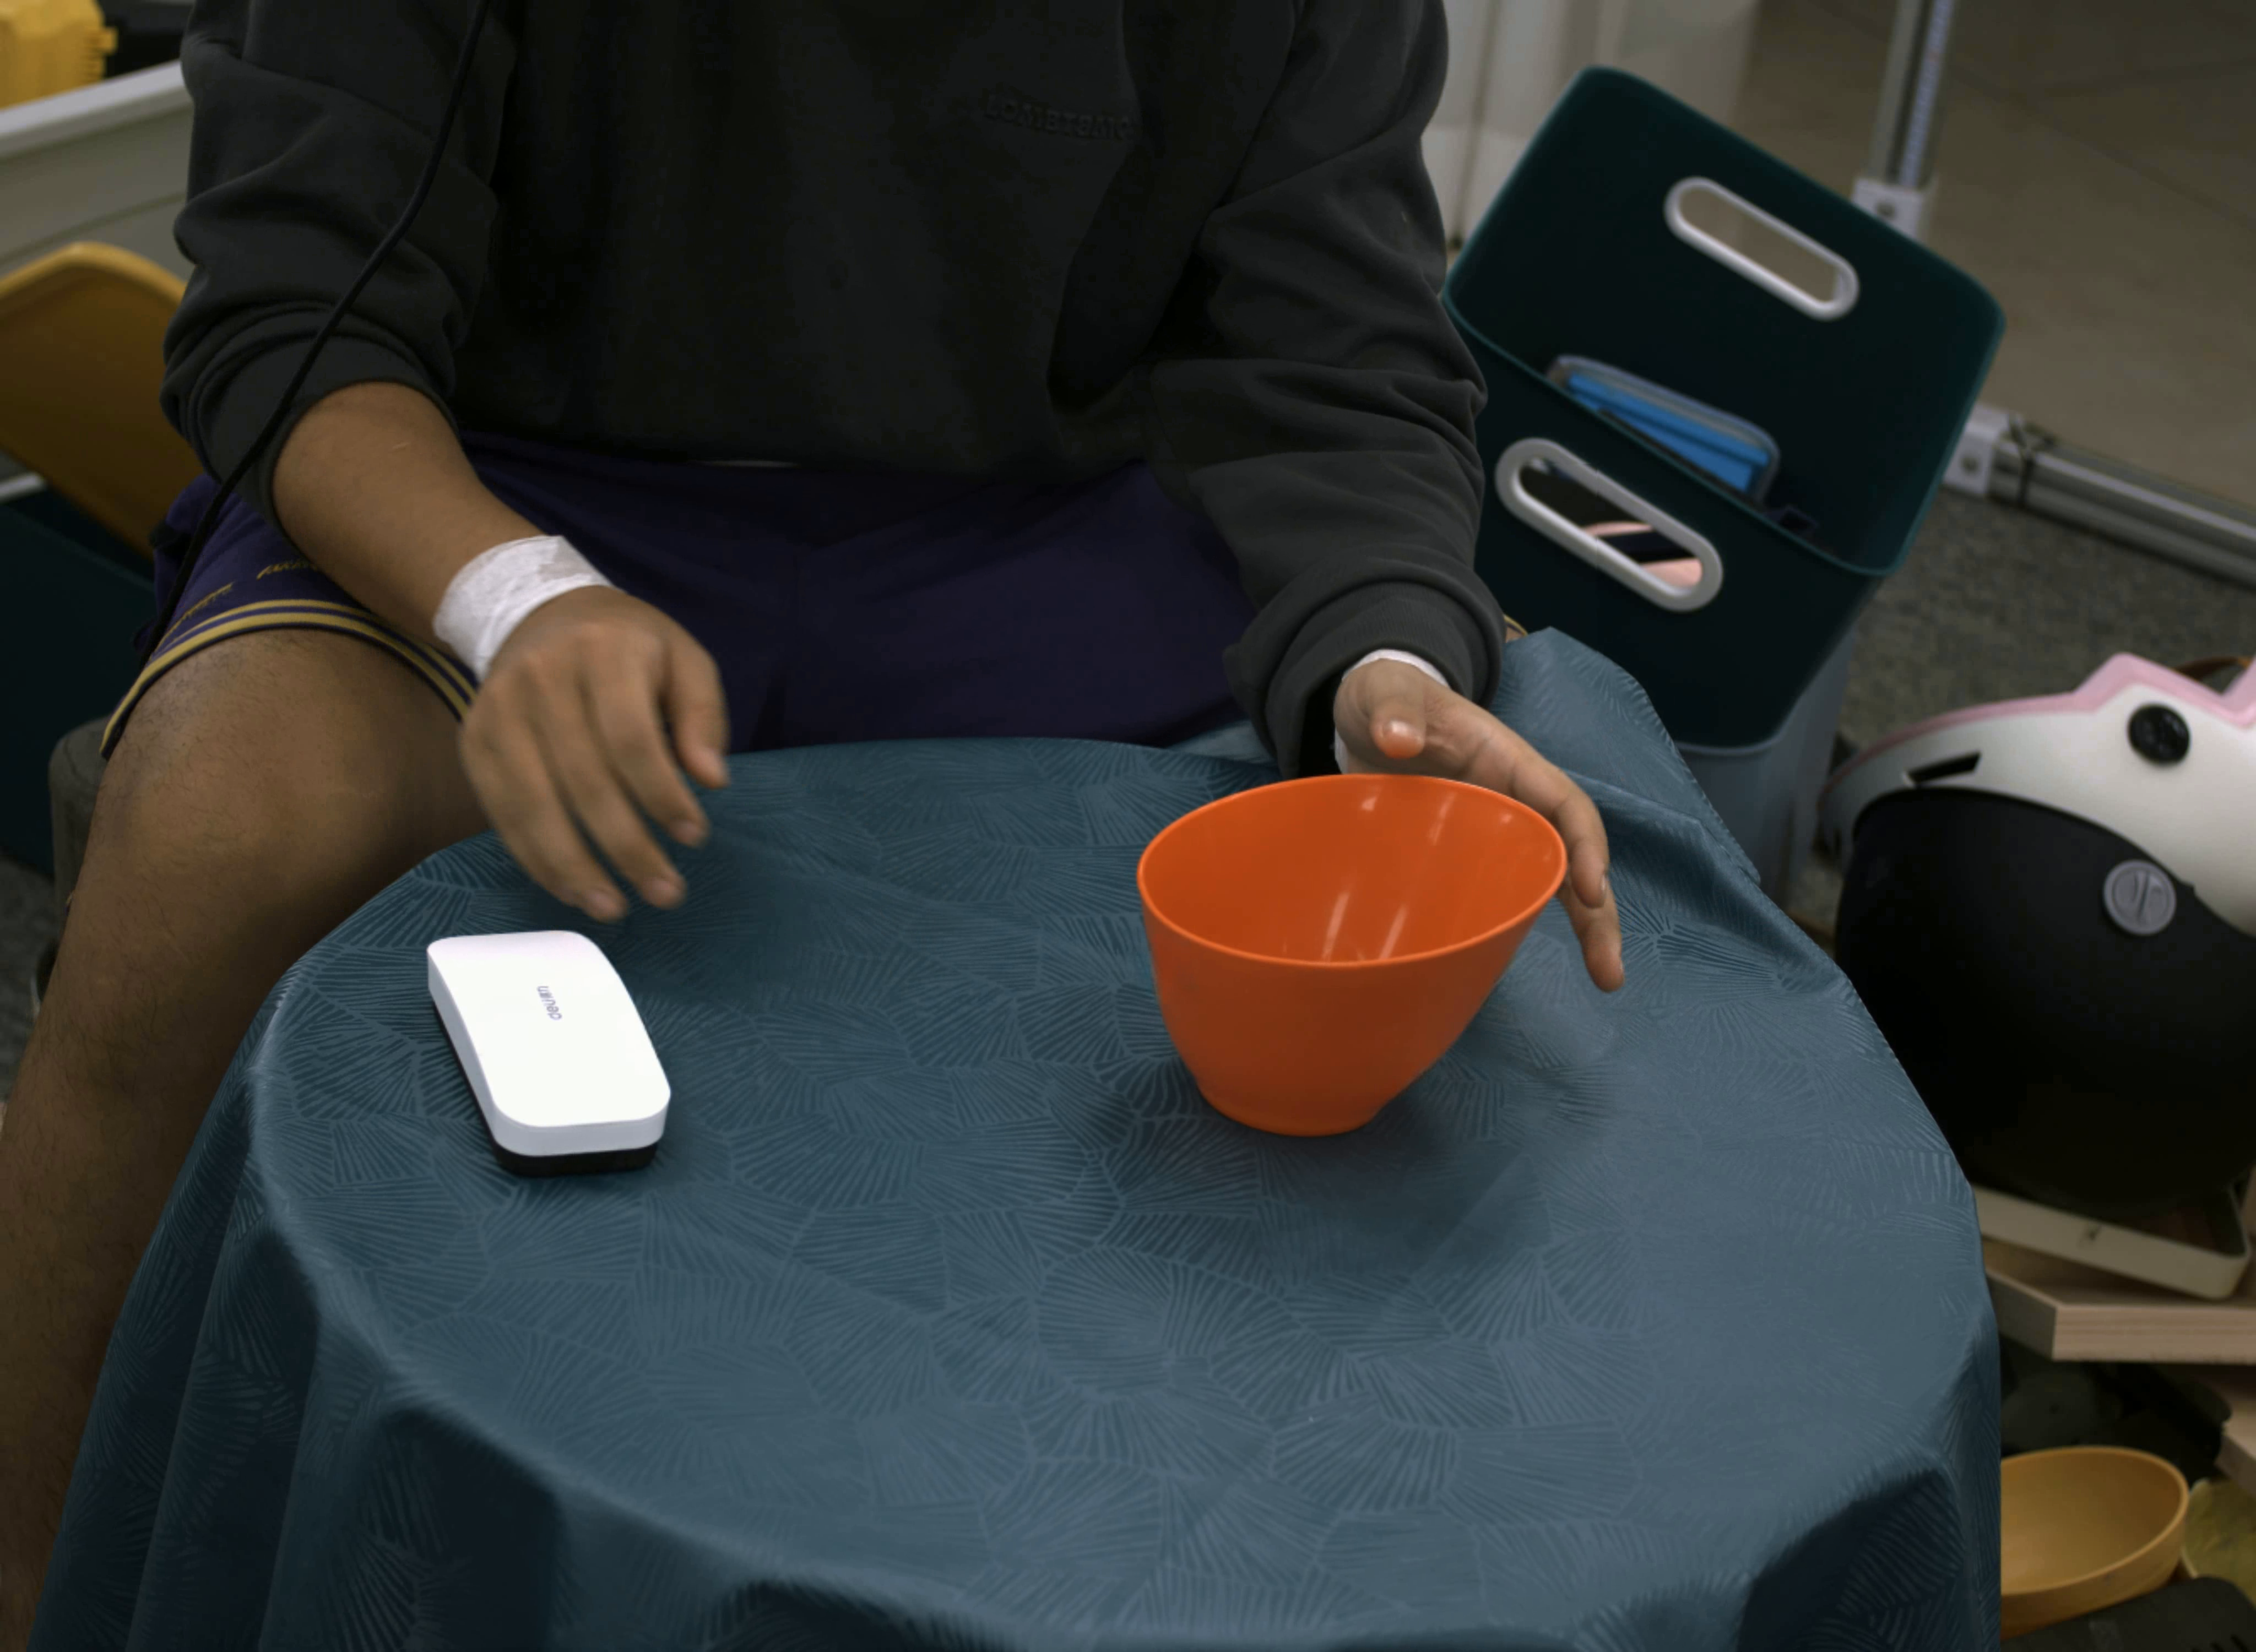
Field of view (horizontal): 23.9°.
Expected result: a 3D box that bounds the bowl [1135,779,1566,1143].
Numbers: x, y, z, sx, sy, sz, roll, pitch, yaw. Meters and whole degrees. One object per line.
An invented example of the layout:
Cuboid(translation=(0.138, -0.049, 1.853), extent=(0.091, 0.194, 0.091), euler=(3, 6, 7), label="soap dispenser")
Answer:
Cuboid(translation=(0.072, 0.051, 1.850), extent=(0.147, 0.104, 0.149), euler=(4, 27, -2), label="bowl")

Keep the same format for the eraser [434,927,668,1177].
Cuboid(translation=(-0.198, 0.073, 1.820), extent=(0.063, 0.034, 0.132), euler=(-2, 29, -18), label="eraser")
